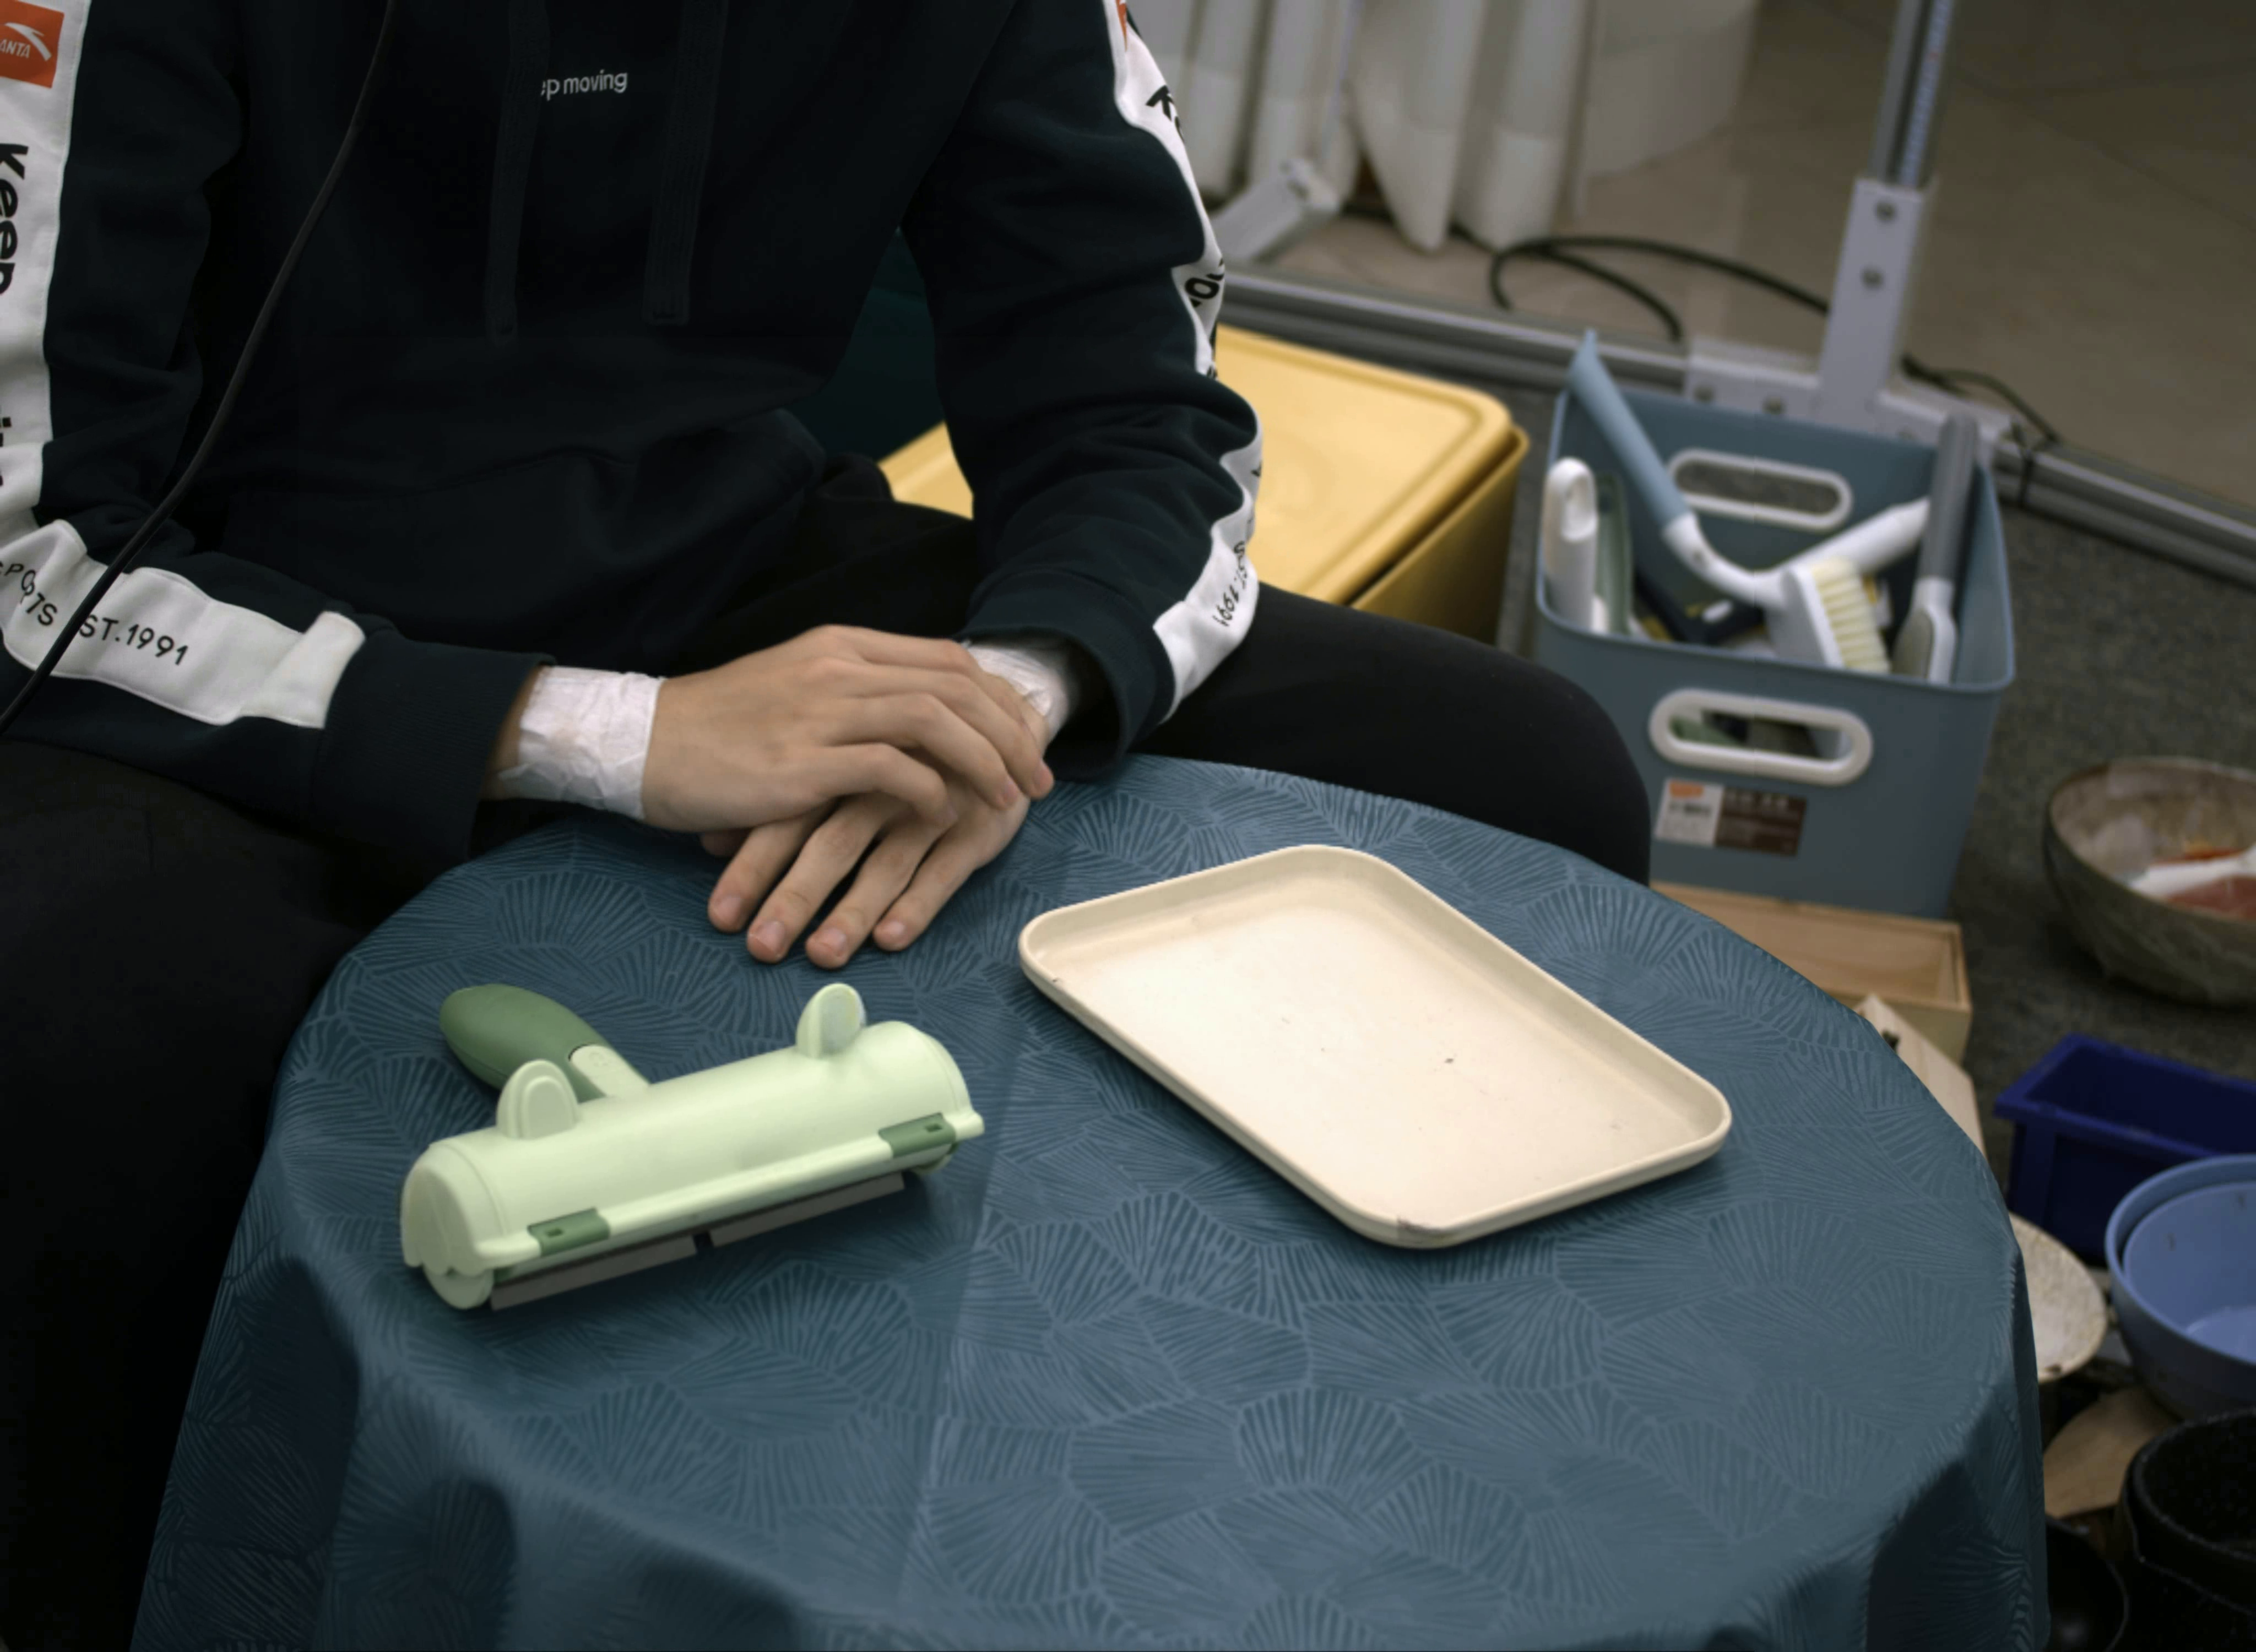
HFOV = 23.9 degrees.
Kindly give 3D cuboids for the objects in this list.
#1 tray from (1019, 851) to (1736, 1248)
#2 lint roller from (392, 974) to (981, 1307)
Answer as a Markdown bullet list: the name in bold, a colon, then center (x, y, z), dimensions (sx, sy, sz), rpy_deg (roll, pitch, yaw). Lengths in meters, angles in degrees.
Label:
- **tray**: center (0.086, 0.078, 1.889), dimensions (0.170, 0.017, 0.242), rpy_deg (-13, 33, -35)
- **lint roller**: center (-0.175, 0.076, 1.768), dimensions (0.197, 0.082, 0.185), rpy_deg (-14, 37, -34)
